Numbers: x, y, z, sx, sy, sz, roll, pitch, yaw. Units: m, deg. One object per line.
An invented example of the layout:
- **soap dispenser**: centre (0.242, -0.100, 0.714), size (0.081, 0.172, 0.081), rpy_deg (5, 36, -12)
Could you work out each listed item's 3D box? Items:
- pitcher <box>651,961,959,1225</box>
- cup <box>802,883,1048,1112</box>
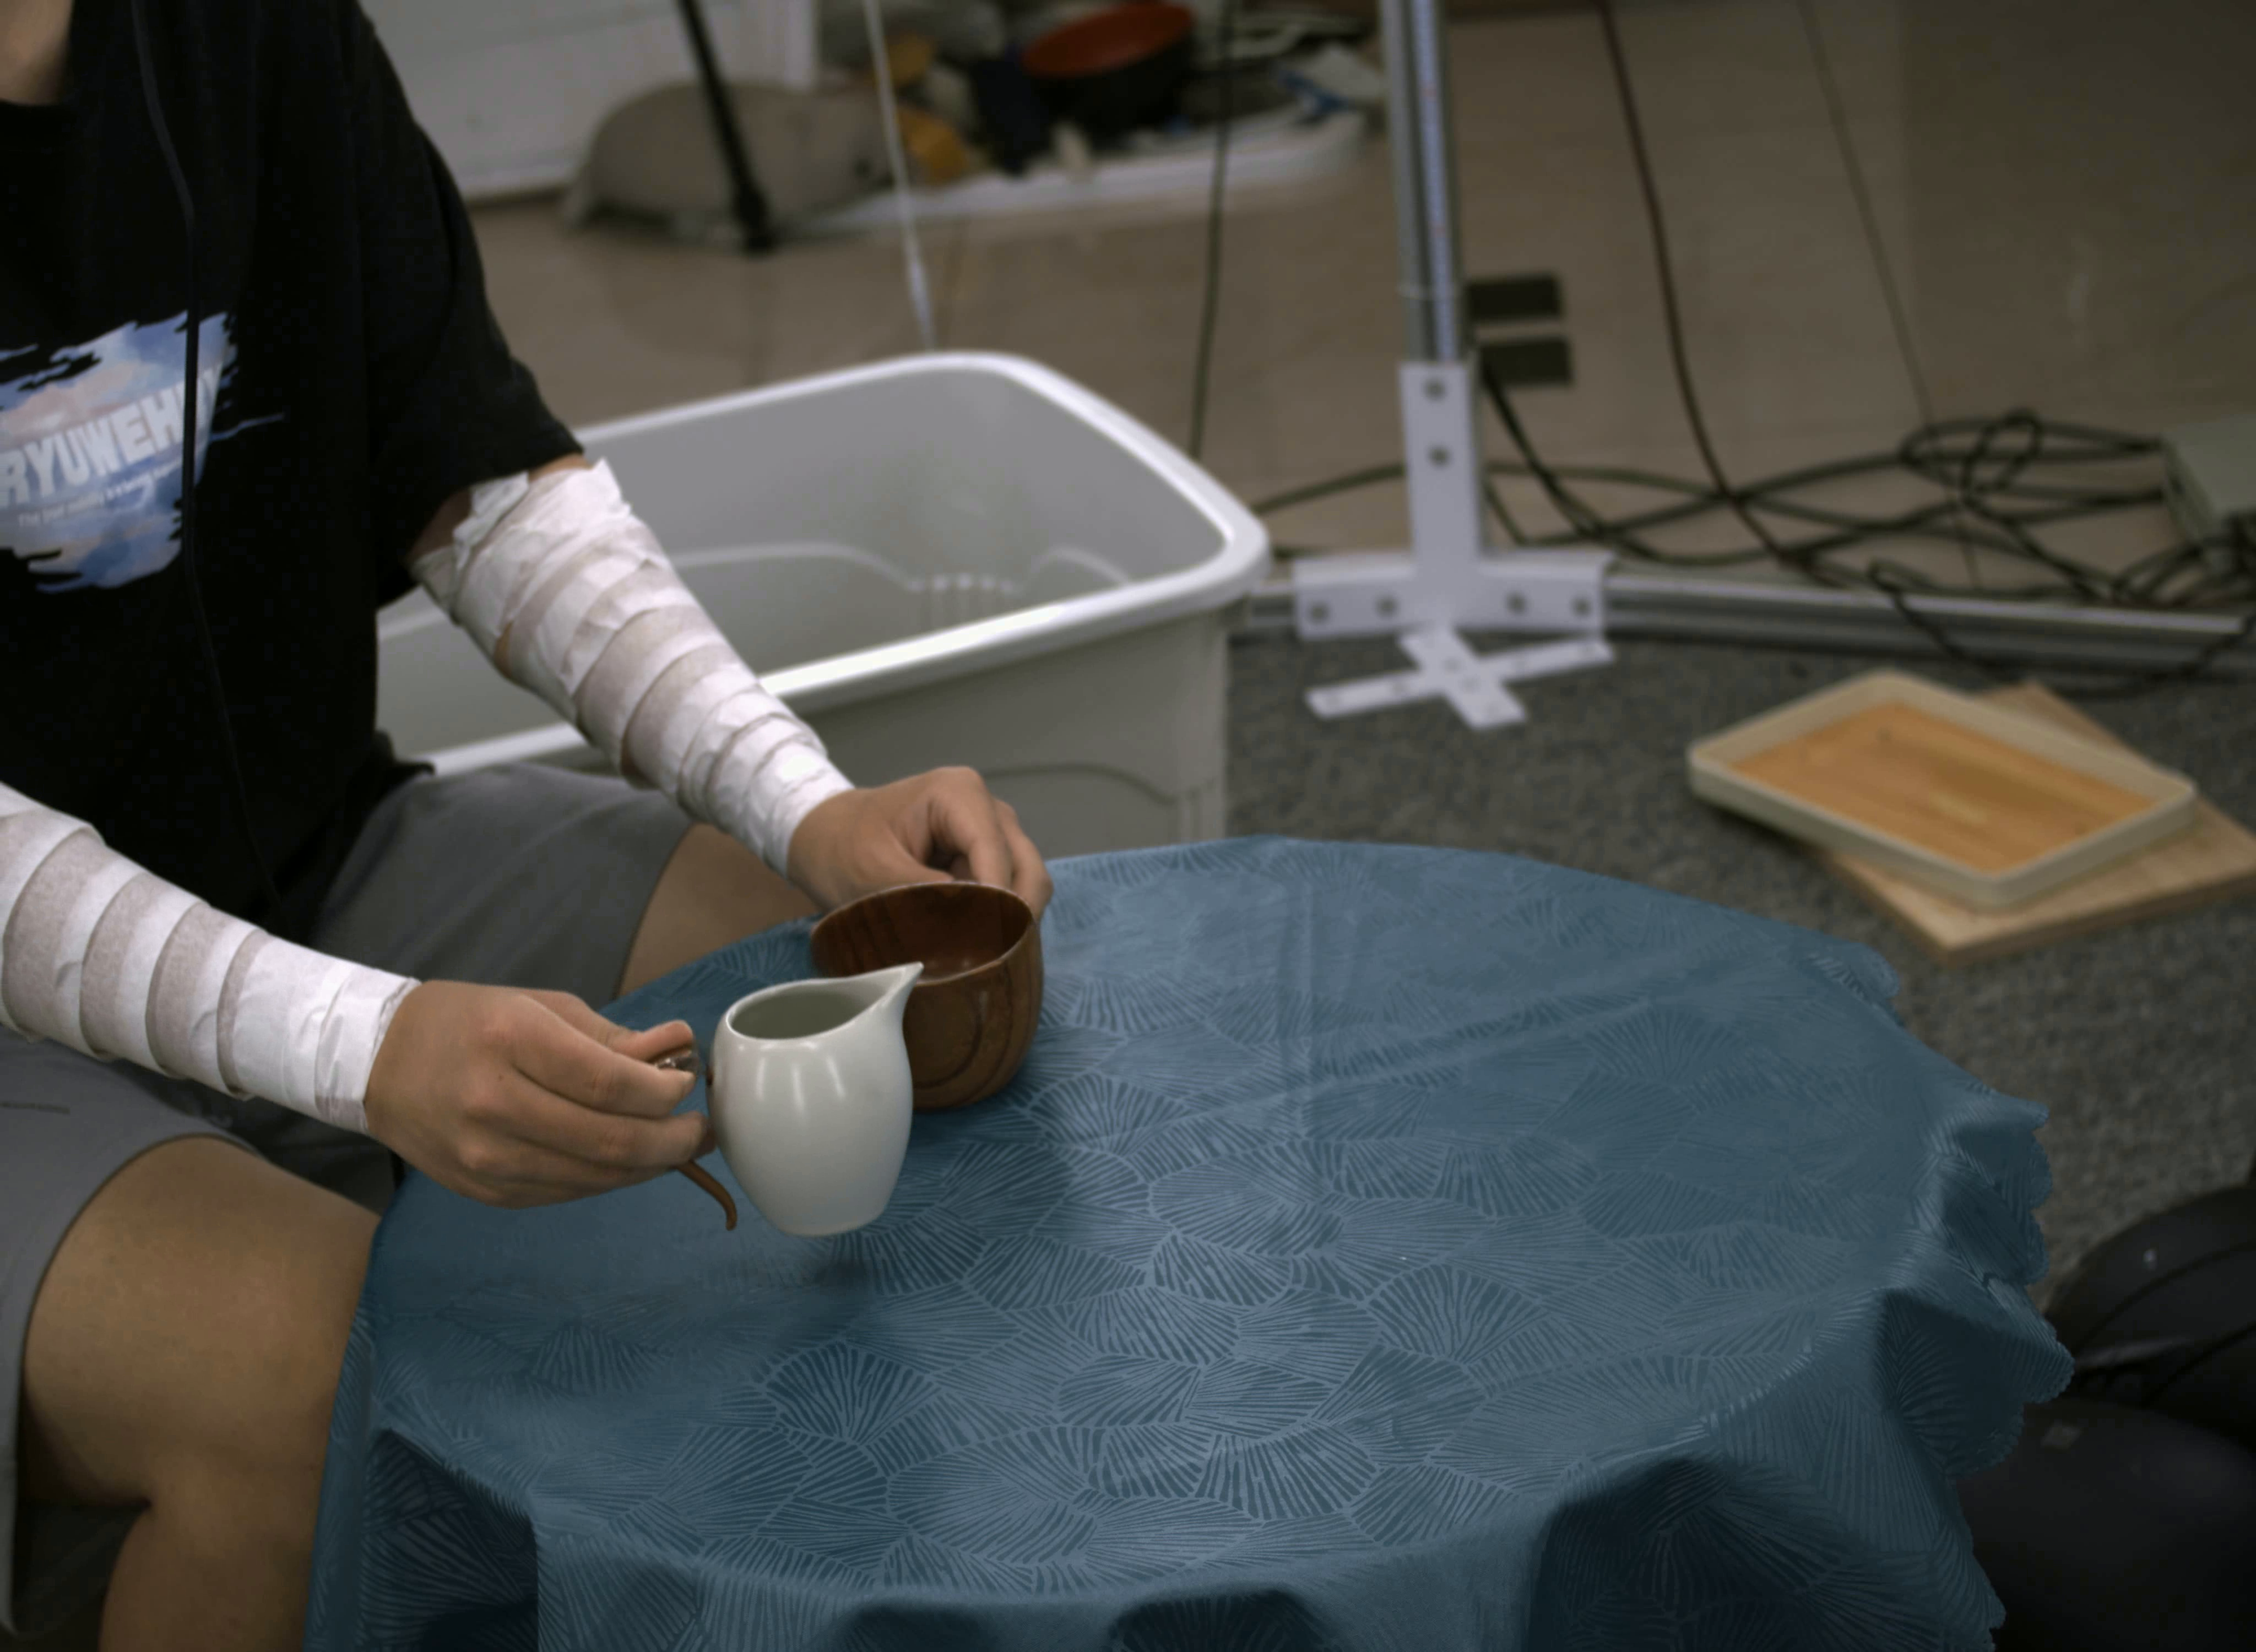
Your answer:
- **pitcher**: centre (-0.116, 0.100, 2.086), size (0.119, 0.089, 0.075), rpy_deg (-8, 18, -16)
- **cup**: centre (-0.074, 0.066, 2.247), size (0.096, 0.069, 0.118), rpy_deg (-3, 23, 15)
